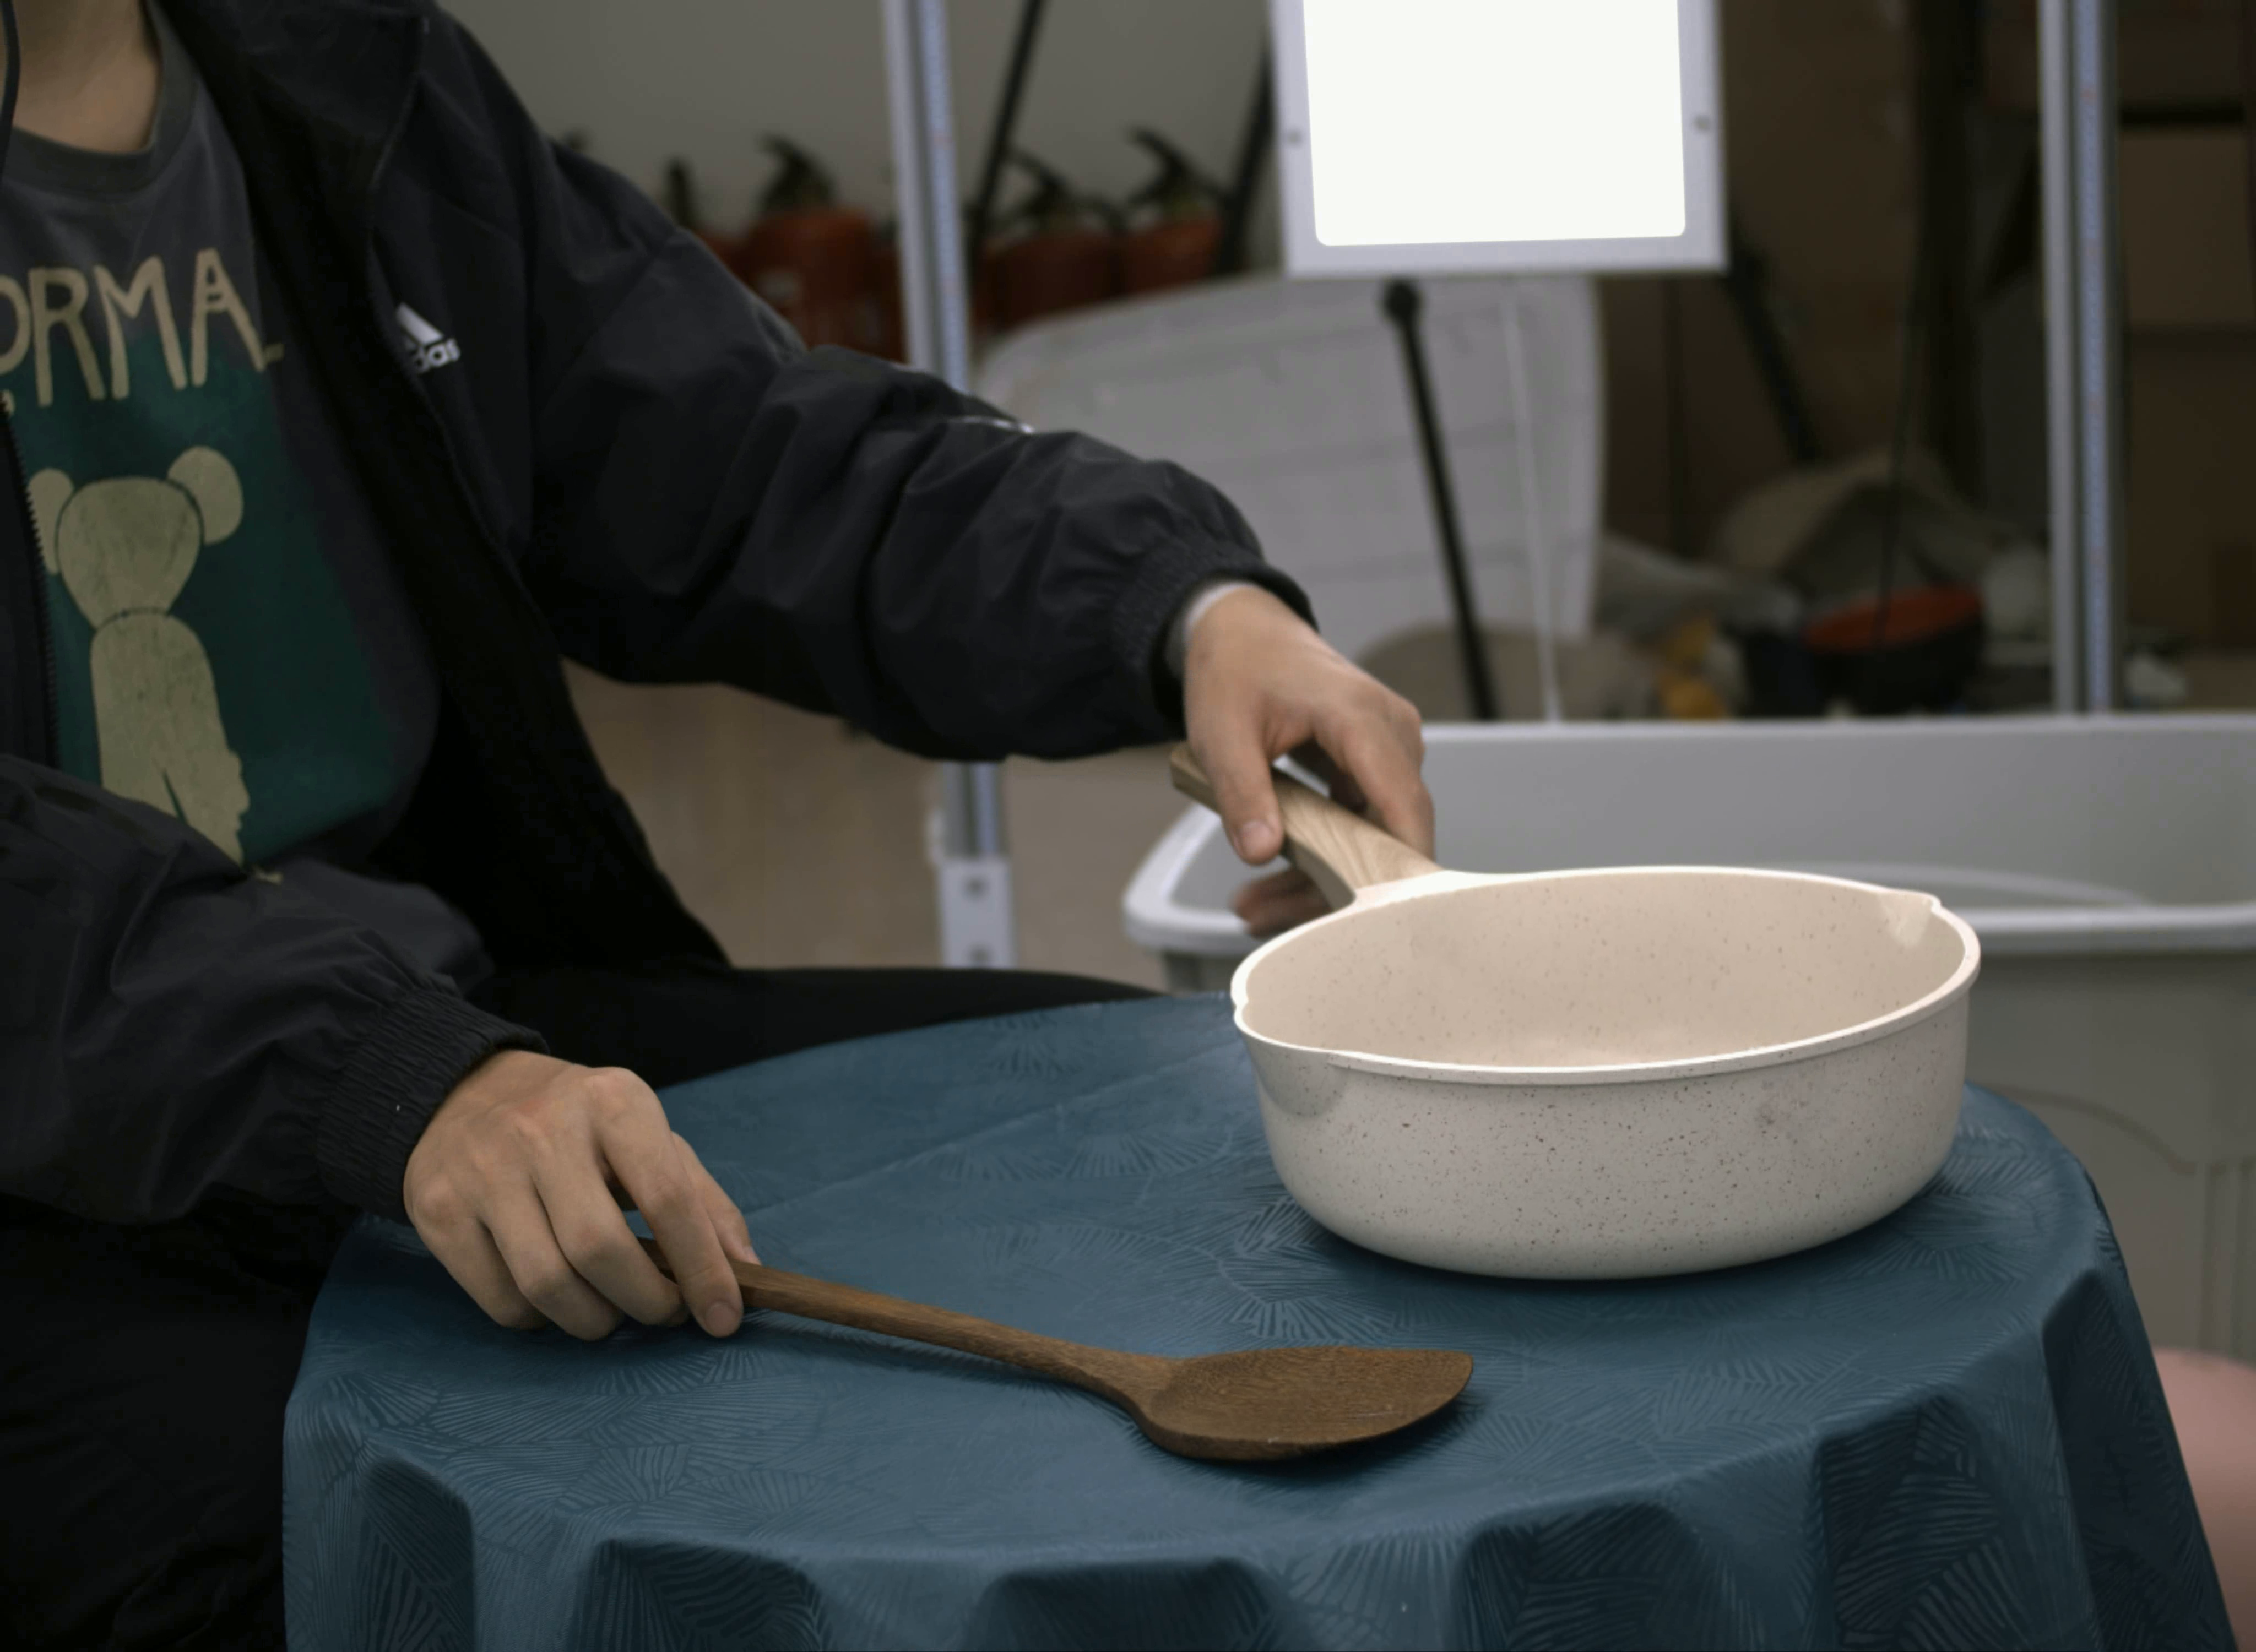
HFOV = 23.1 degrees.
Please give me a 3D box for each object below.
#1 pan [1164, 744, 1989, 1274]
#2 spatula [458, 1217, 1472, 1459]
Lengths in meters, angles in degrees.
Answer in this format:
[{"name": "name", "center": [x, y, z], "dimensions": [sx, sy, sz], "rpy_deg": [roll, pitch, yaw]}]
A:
[{"name": "pan", "center": [0.126, 0.057, 1.922], "dimensions": [0.258, 0.102, 0.442], "rpy_deg": [-13, 16, -23]}, {"name": "spatula", "center": [-0.067, 0.157, 1.747], "dimensions": [0.394, 0.016, 0.094], "rpy_deg": [8, 18, 36]}]
